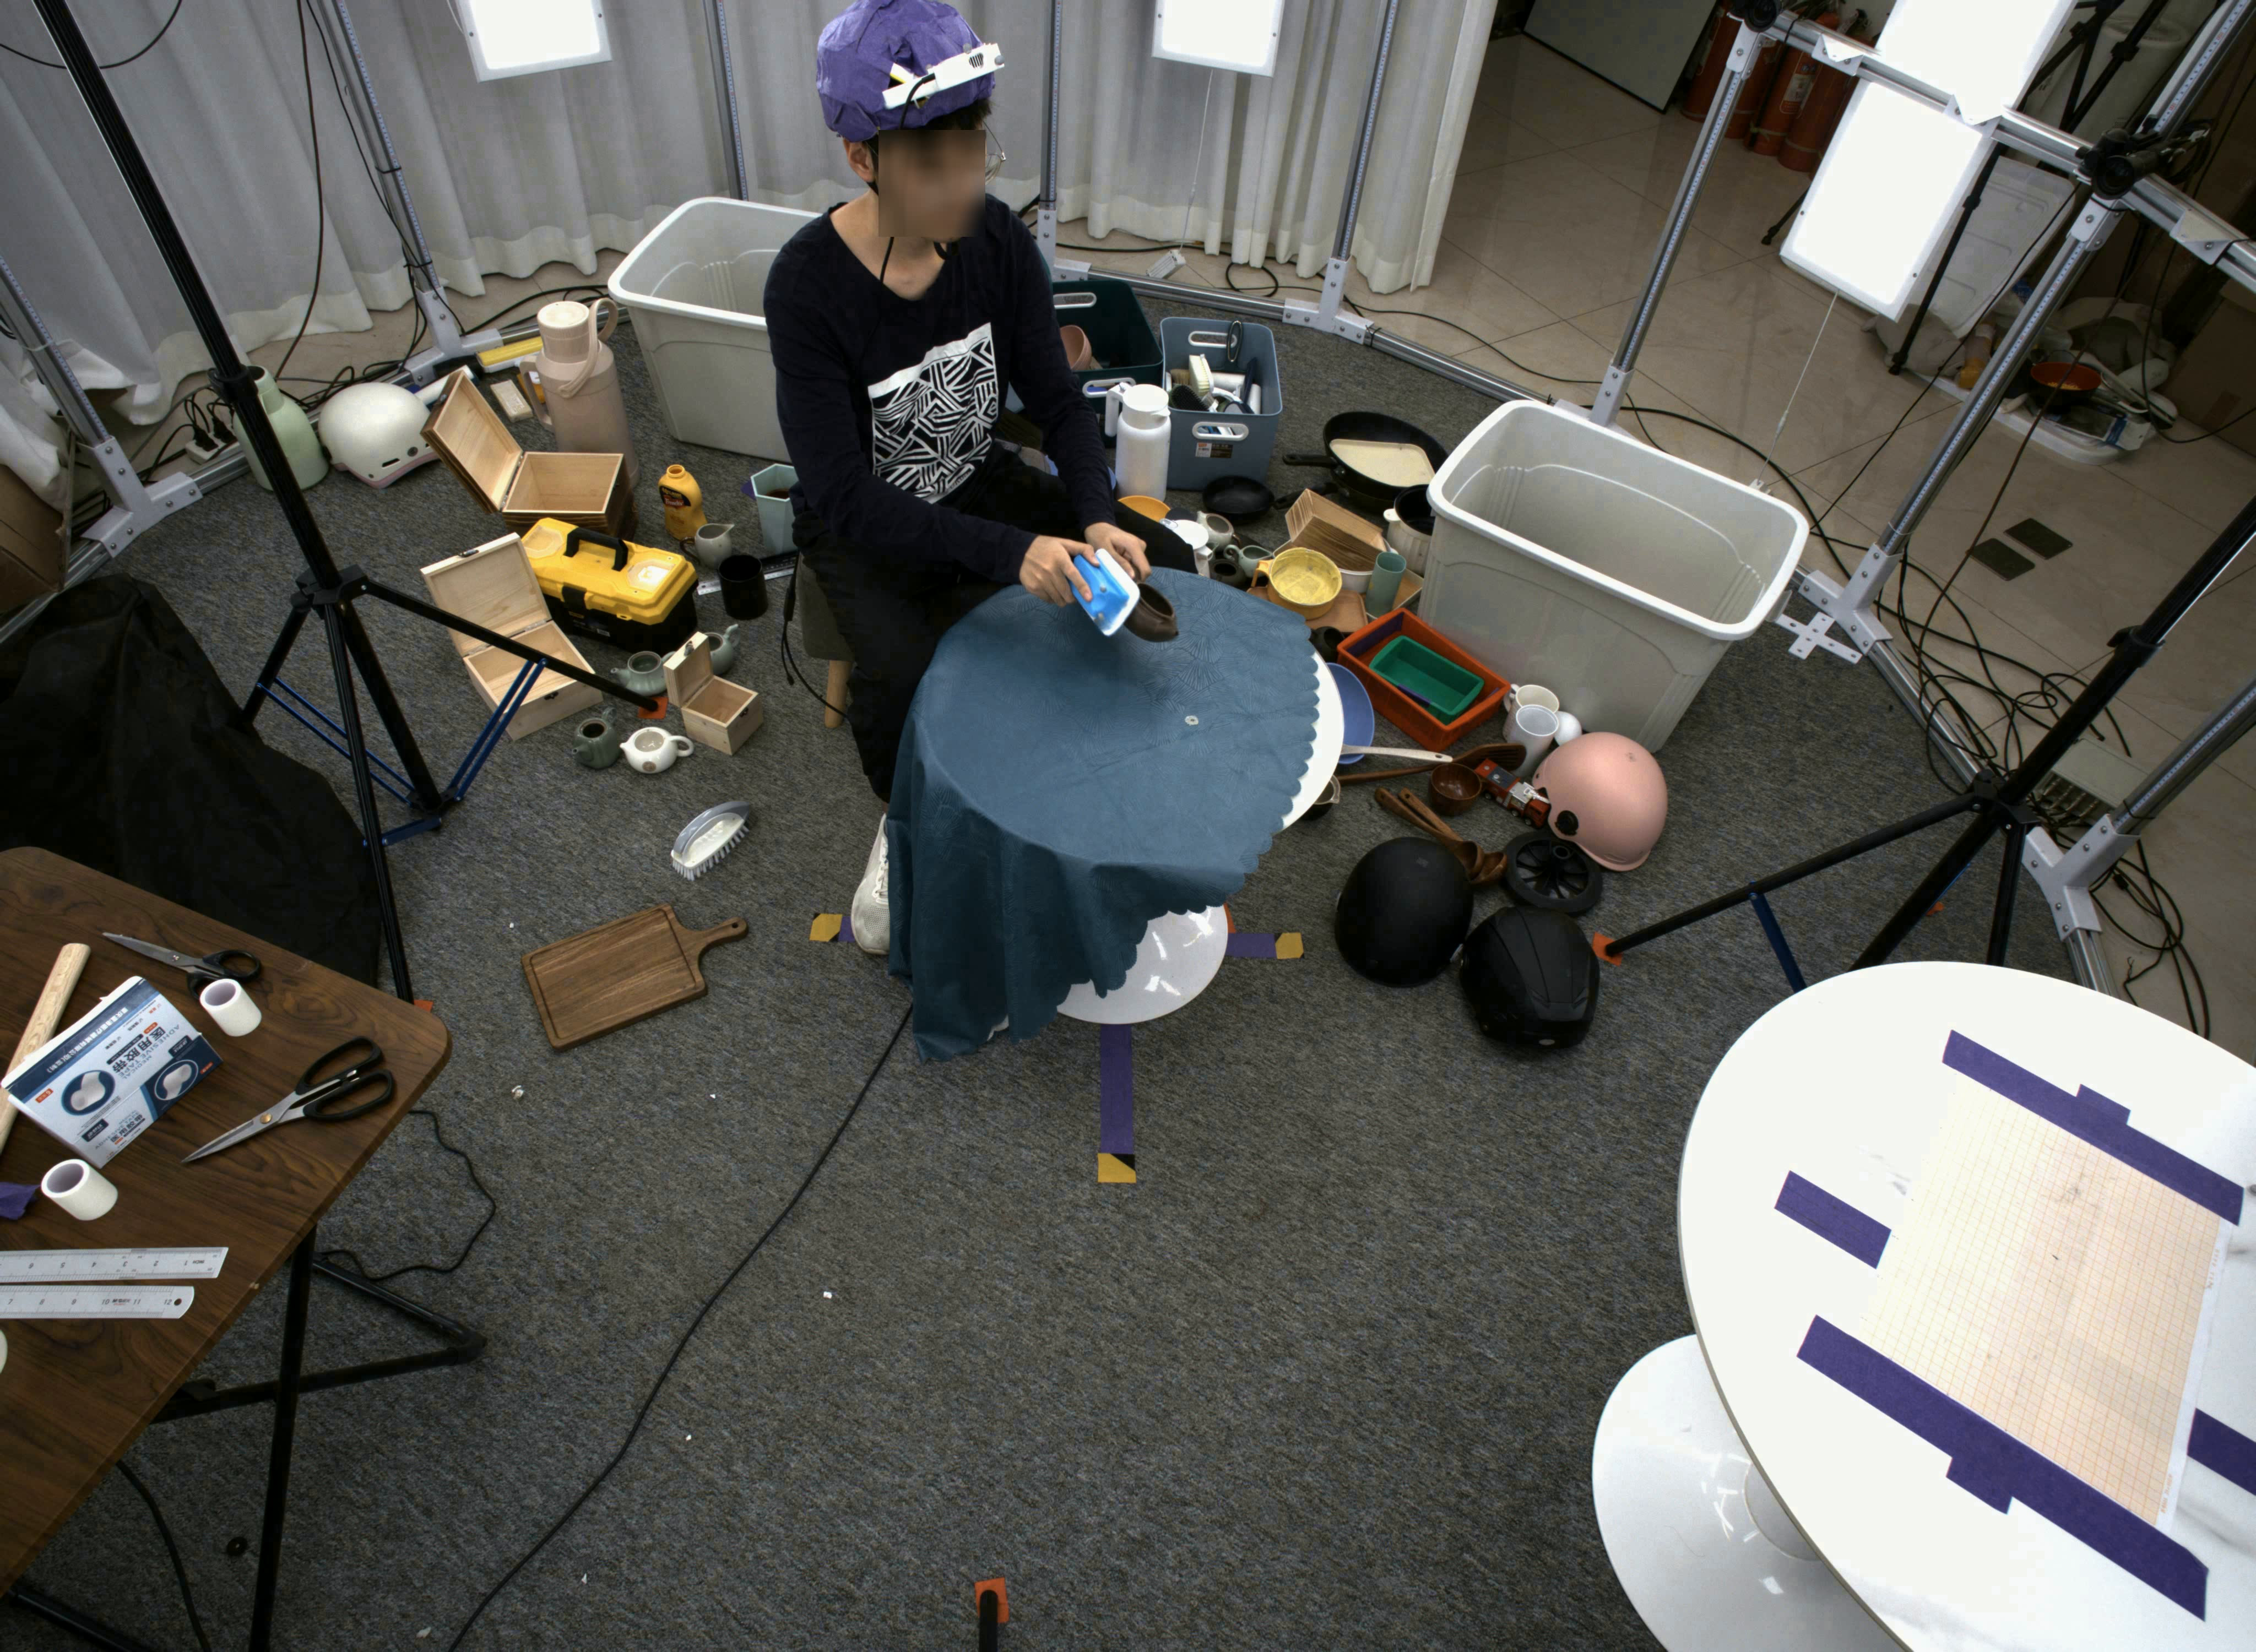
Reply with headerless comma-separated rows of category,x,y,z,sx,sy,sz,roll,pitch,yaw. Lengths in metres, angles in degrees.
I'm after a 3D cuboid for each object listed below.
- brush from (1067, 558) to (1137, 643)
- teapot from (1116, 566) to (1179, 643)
brush,-0.045,-0.322,1.796,0.083,0.055,0.147,-46,43,15
teapot,0.023,-0.306,1.805,0.102,0.053,0.156,7,46,-47
